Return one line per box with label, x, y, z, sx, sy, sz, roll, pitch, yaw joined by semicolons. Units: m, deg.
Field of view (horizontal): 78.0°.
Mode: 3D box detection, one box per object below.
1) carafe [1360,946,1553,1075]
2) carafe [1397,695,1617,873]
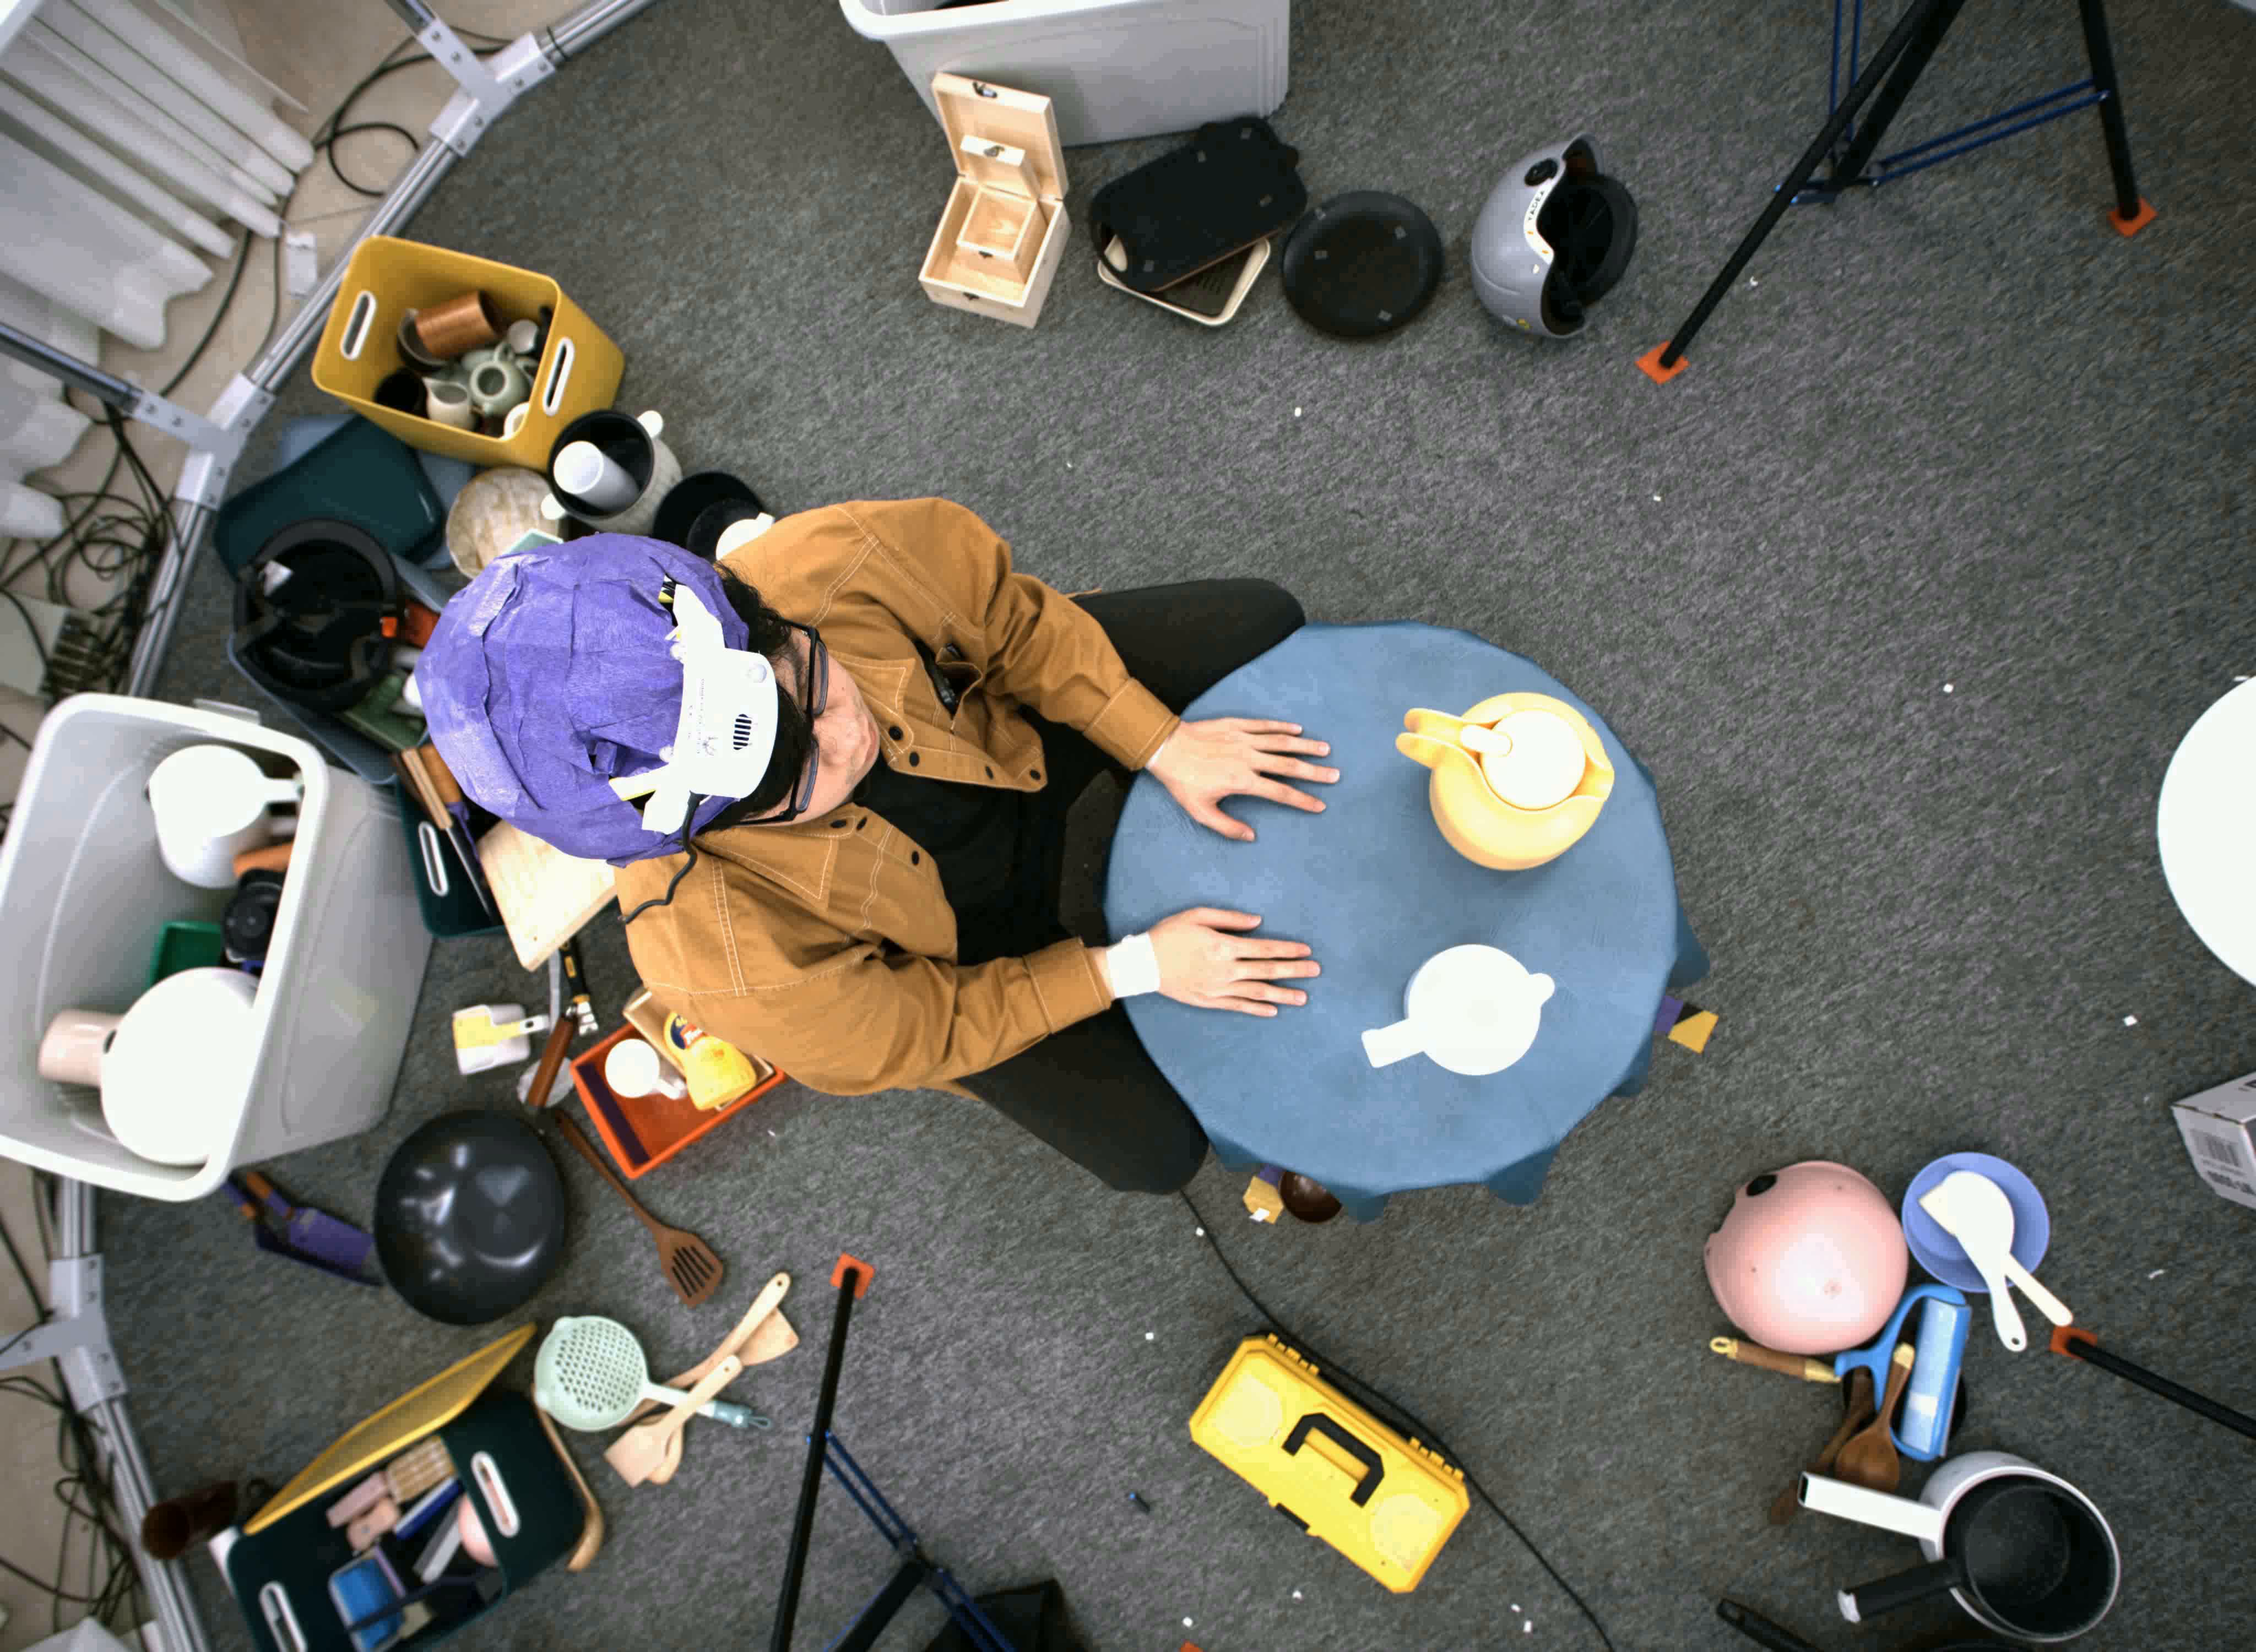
carafe;0.307;0.180;1.313;0.174;0.269;0.123;-23;83;8
carafe;0.357;-0.055;1.317;0.202;0.261;0.163;24;87;10
